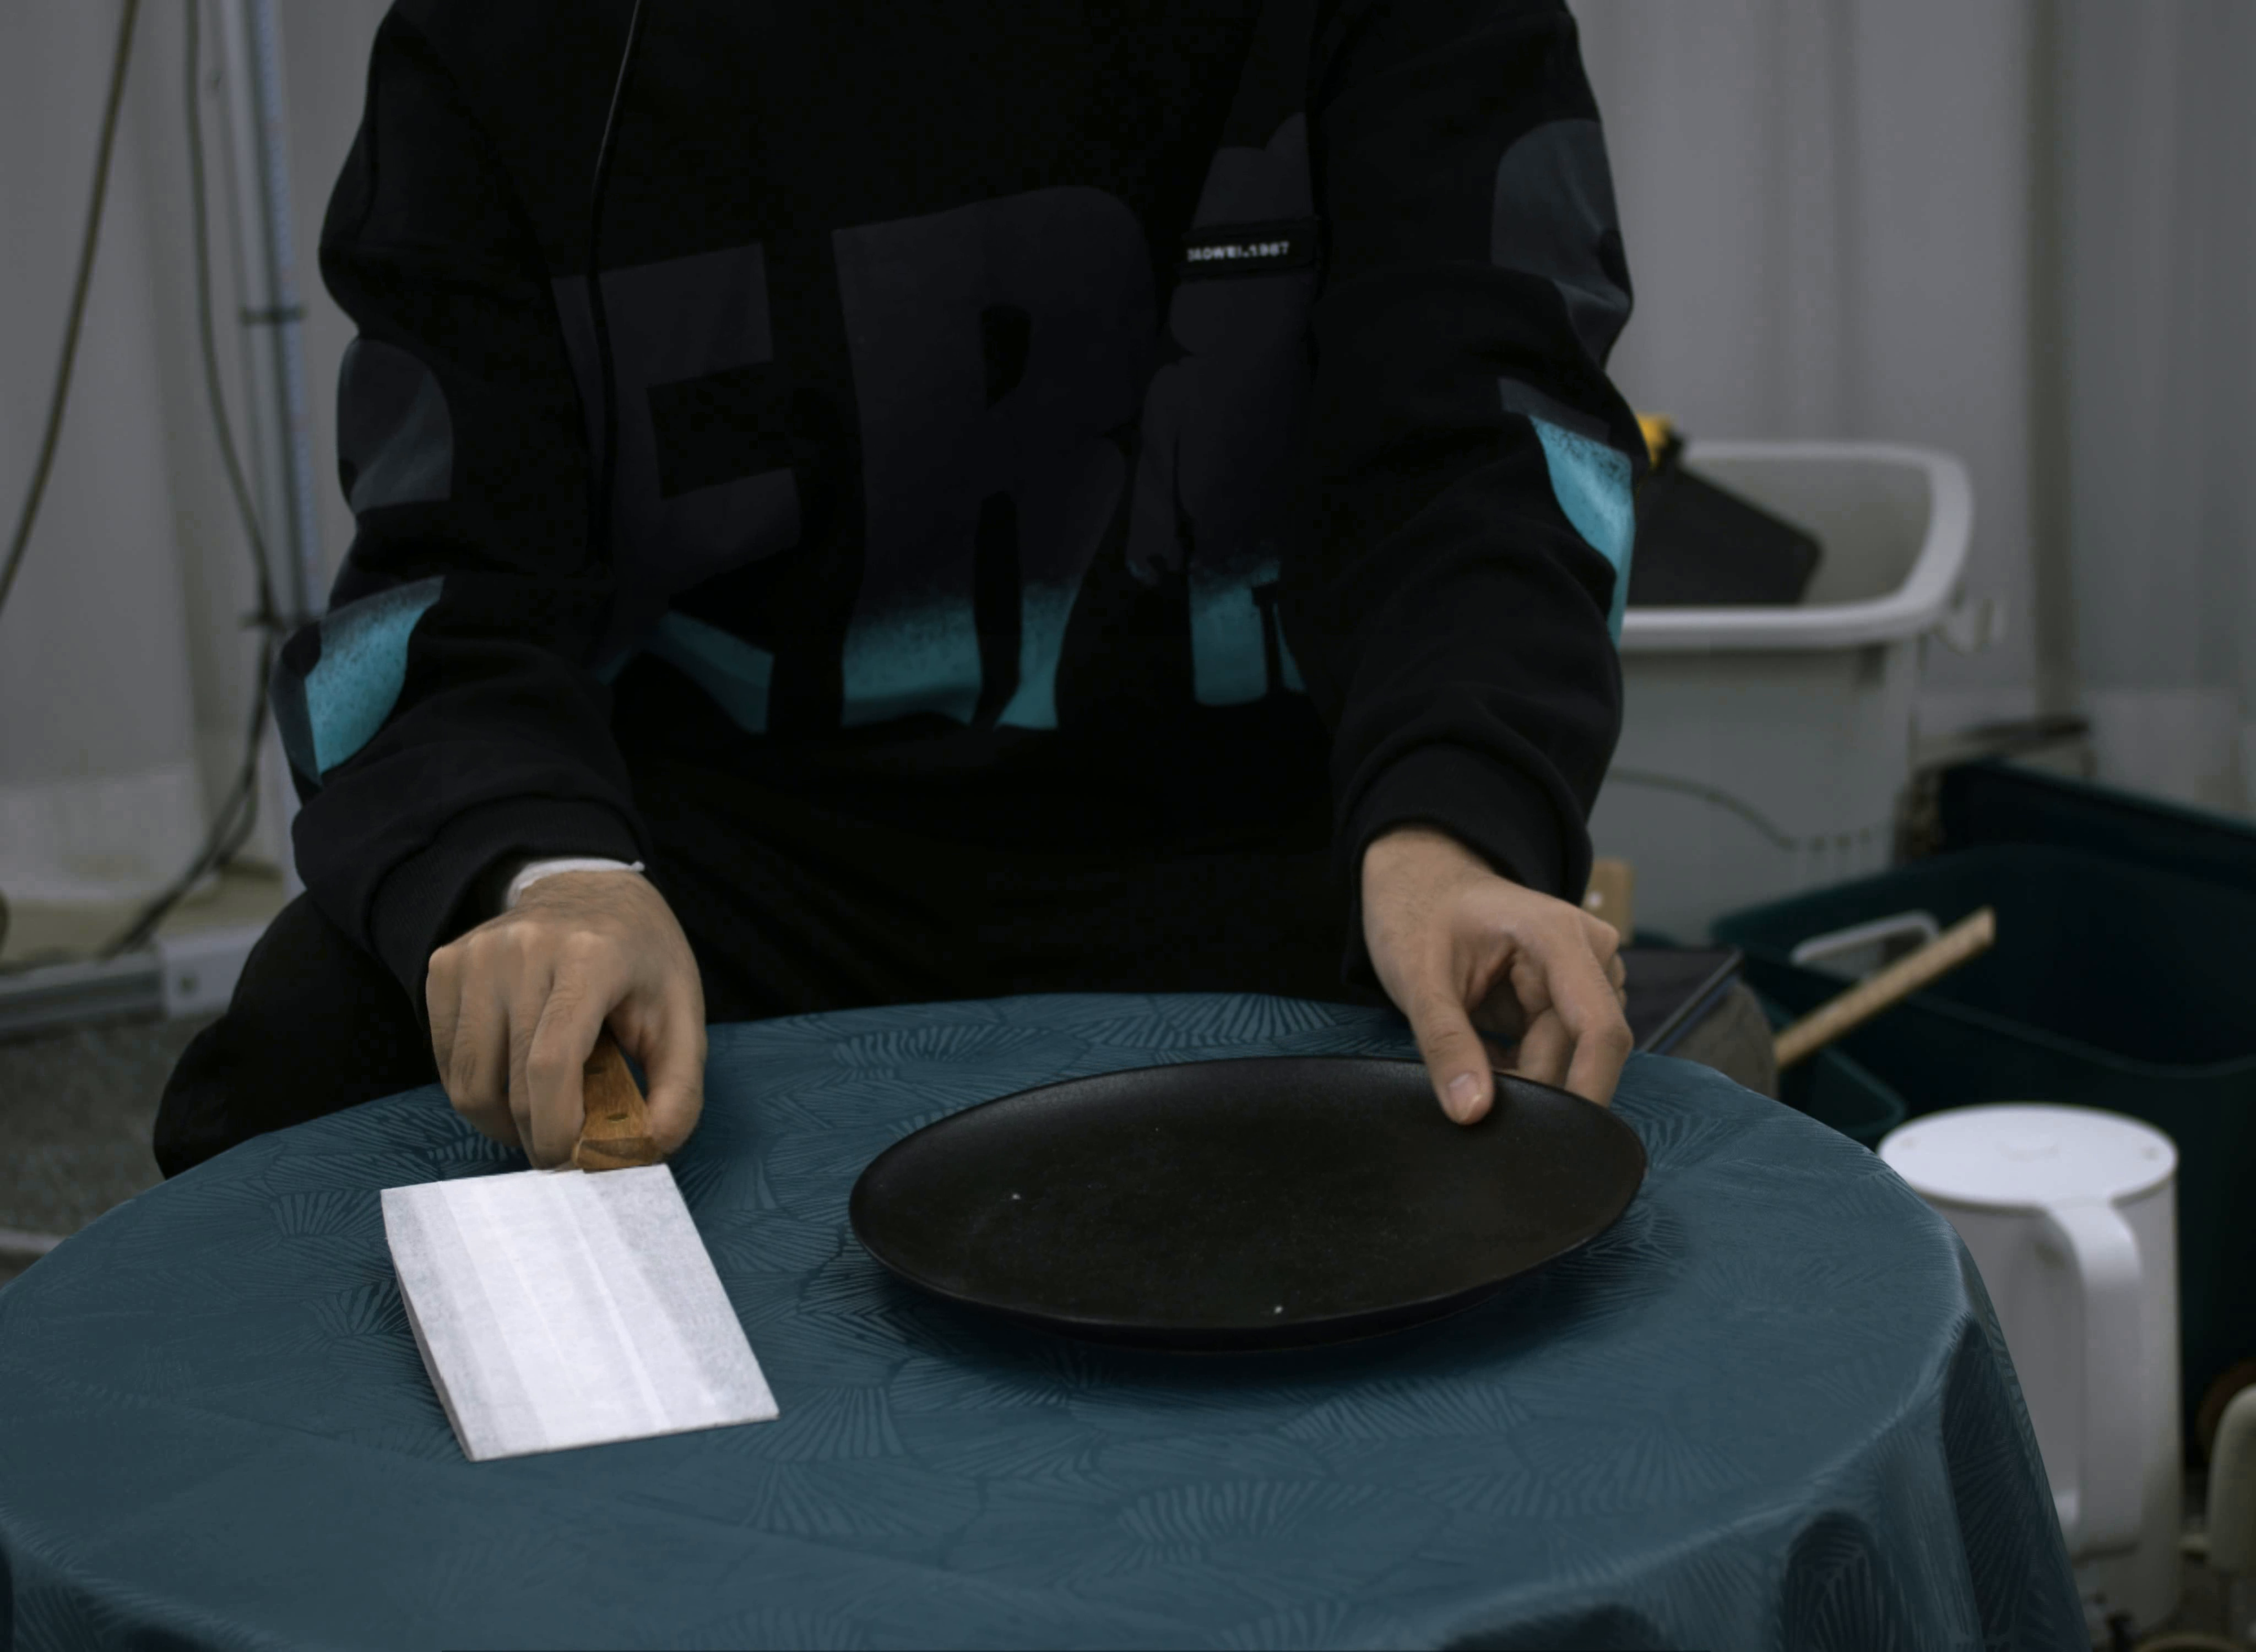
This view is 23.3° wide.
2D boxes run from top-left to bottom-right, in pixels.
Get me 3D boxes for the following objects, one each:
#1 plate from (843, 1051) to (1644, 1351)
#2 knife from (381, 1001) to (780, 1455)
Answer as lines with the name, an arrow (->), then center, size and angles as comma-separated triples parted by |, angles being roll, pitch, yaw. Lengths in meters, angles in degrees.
plate -> 0.035, 0.116, 1.653 | 0.243, 0.023, 0.246 | -4, 16, 1
knife -> -0.178, 0.120, 1.667 | 0.092, 0.021, 0.309 | -7, 21, -13
